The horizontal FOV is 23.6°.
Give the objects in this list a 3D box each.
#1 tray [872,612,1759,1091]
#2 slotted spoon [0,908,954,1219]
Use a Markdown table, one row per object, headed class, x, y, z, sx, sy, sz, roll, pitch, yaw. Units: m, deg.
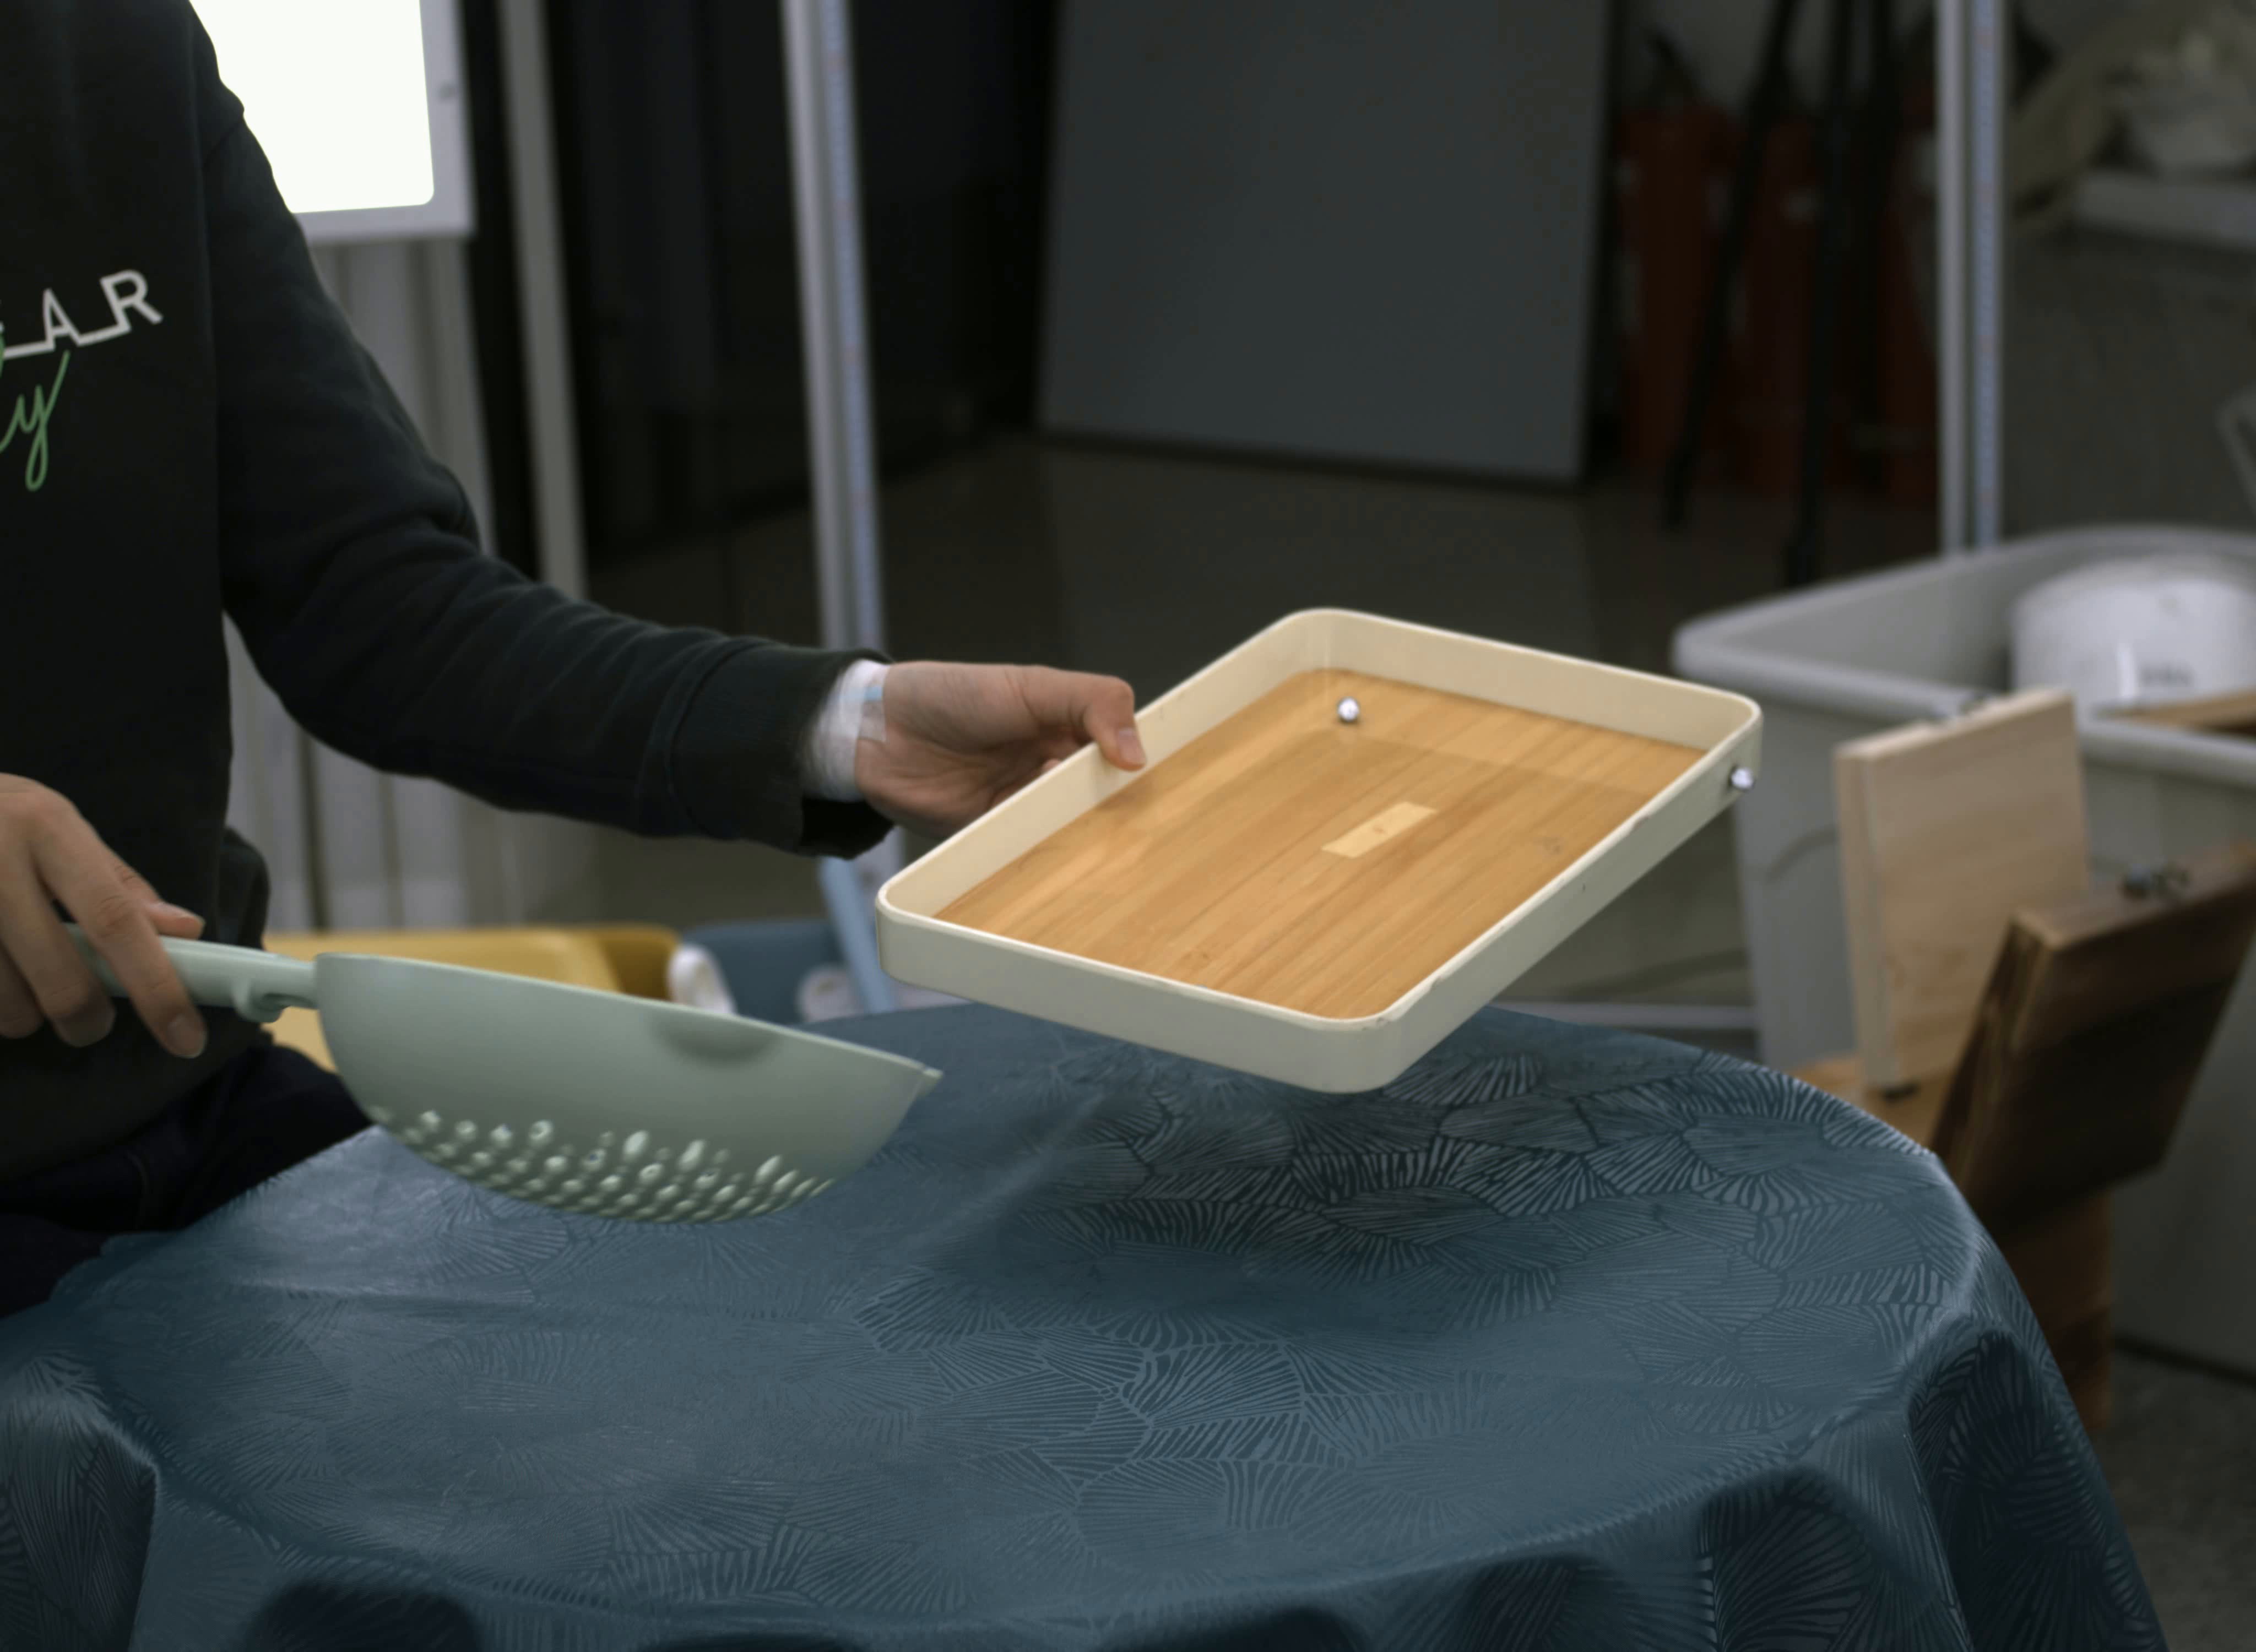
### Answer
| class | x | y | z | sx | sy | sz | roll | pitch | yaw |
| --- | --- | --- | --- | --- | --- | --- | --- | --- | --- |
| tray | 0.068 | 0.003 | 1.792 | 0.192 | 0.027 | 0.296 | 13 | 27 | 30 |
| slotted spoon | -0.223 | 0.049 | 1.512 | 0.360 | 0.076 | 0.167 | 16 | -3 | 27 |
